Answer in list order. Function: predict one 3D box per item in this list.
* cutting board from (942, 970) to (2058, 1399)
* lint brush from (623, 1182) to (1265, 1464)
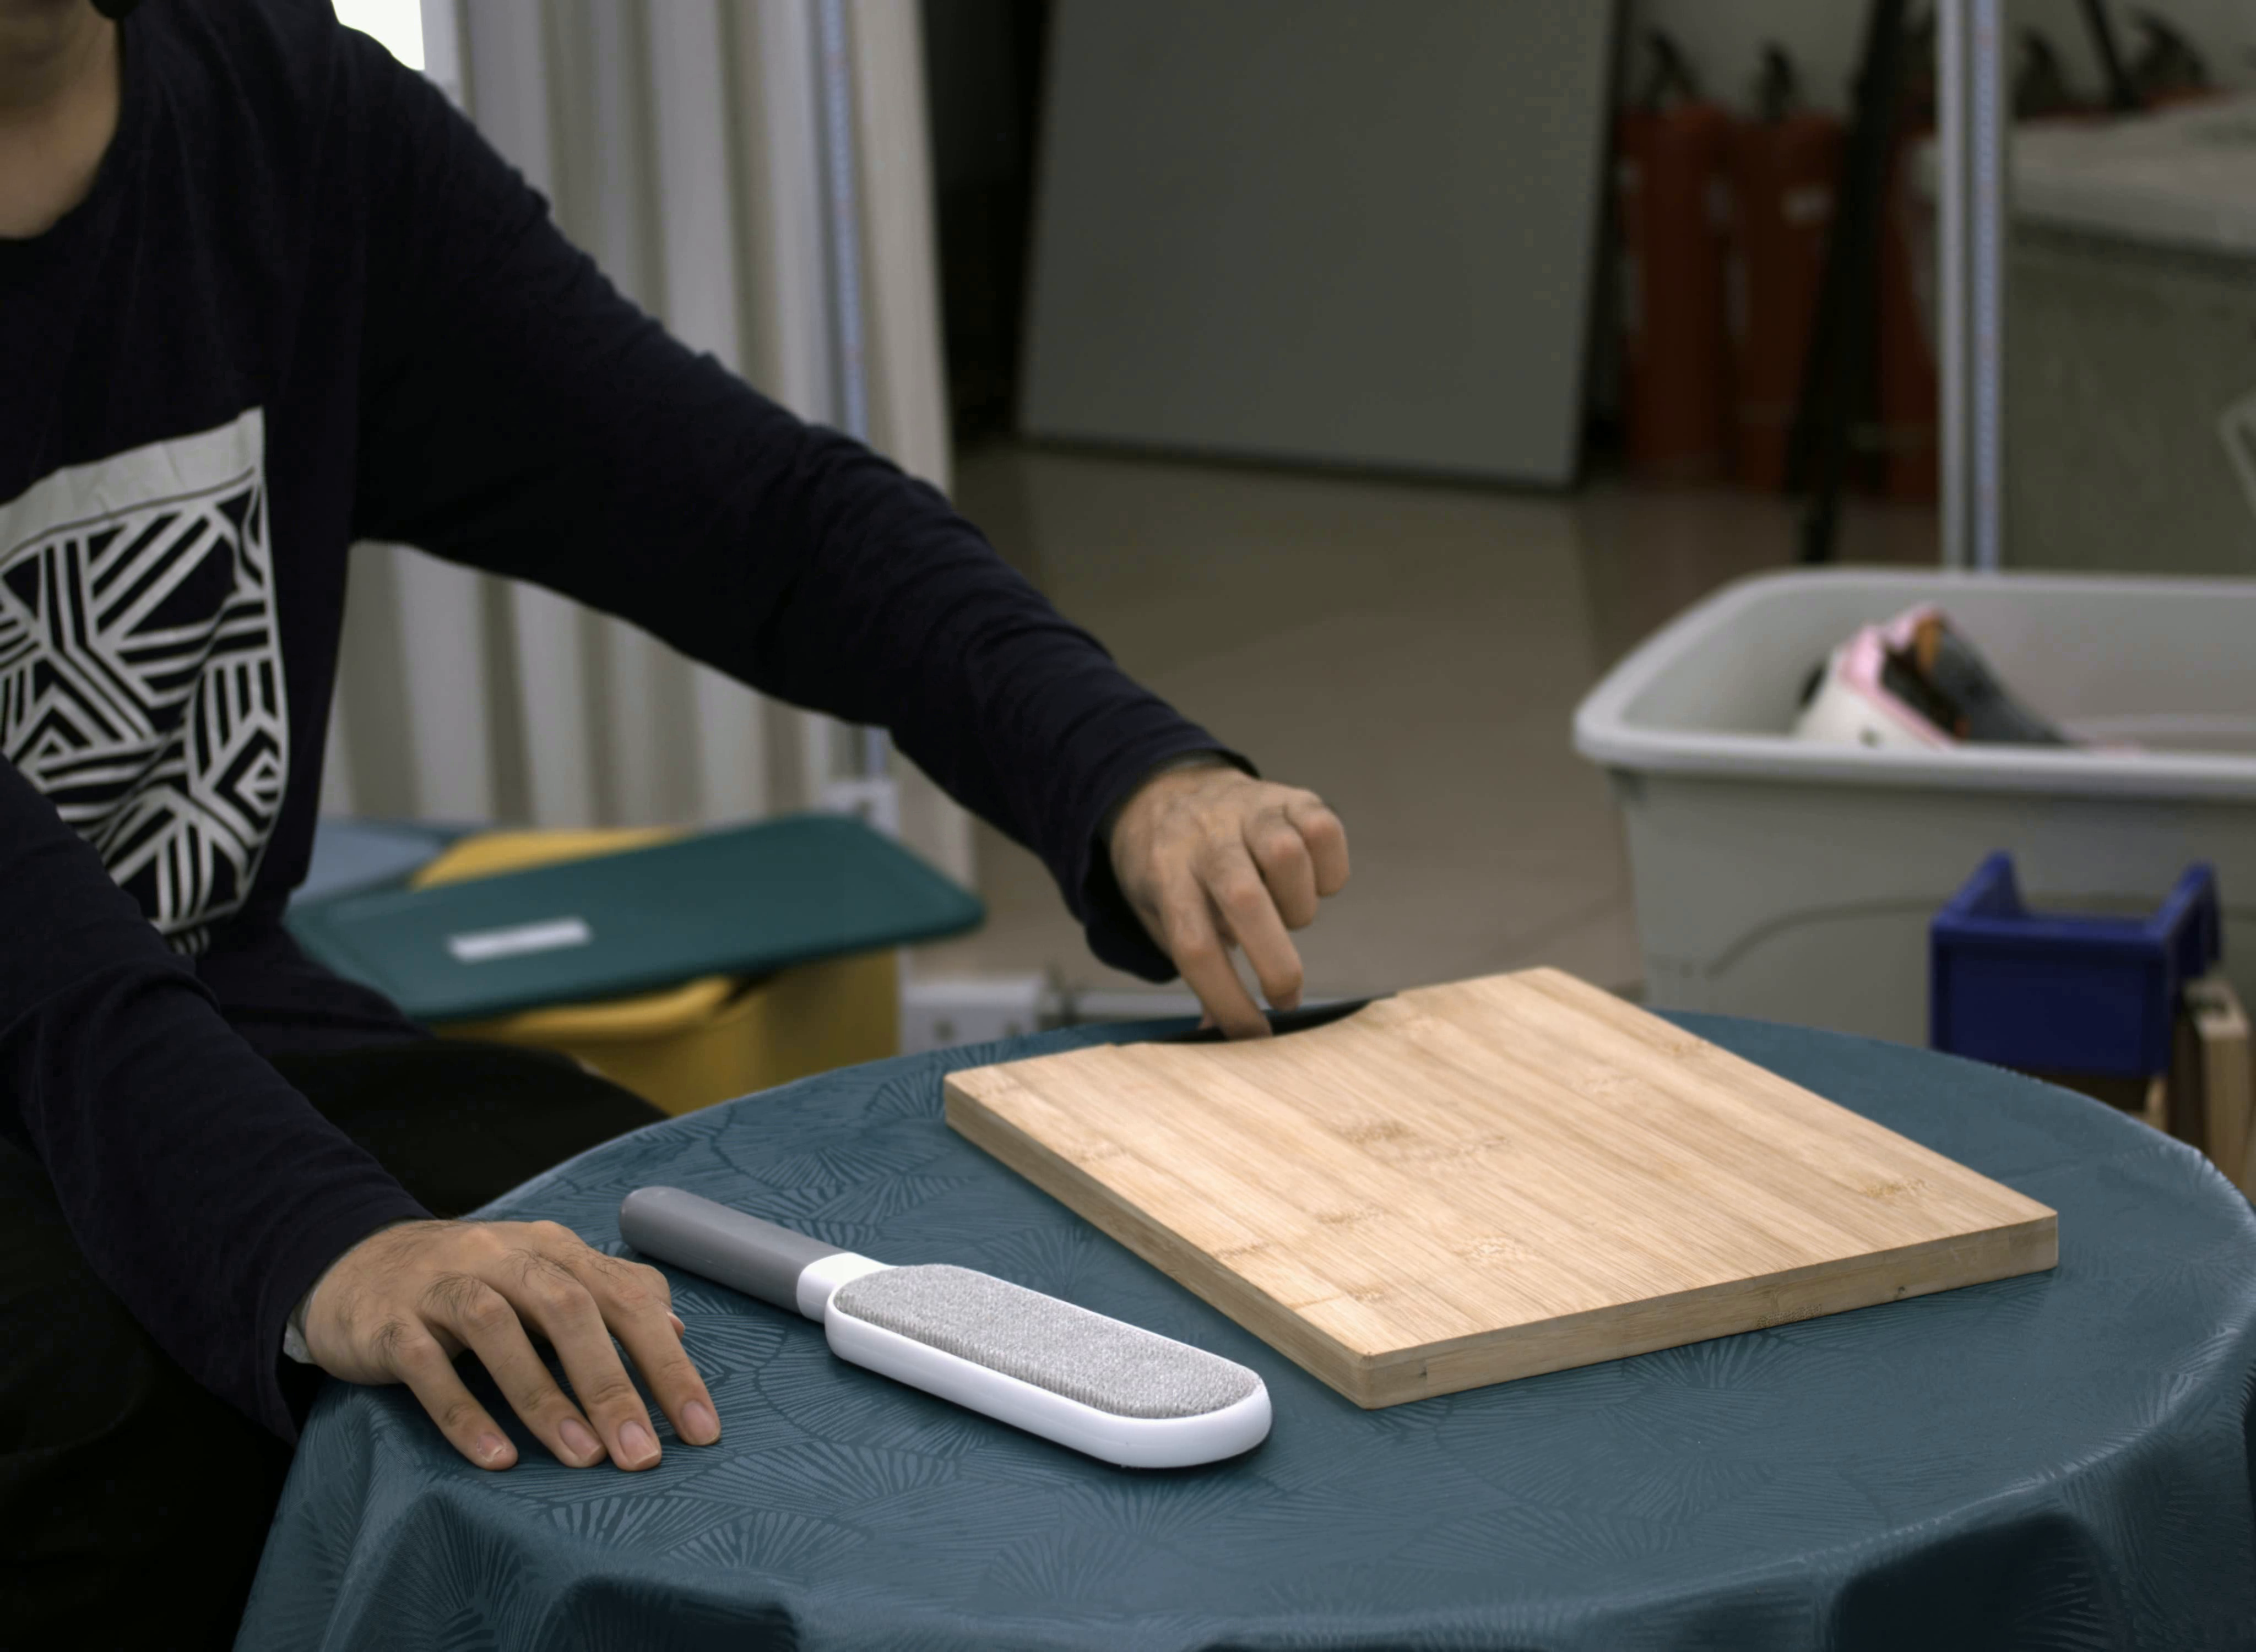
[{"bbox_3d":[0.110,0.111,1.753,0.245,0.024,0.352,-9,14,-22],"label":"cutting board"},{"bbox_3d":[-0.063,0.146,1.634,0.059,0.021,0.312,-20,20,-33],"label":"lint brush"}]
